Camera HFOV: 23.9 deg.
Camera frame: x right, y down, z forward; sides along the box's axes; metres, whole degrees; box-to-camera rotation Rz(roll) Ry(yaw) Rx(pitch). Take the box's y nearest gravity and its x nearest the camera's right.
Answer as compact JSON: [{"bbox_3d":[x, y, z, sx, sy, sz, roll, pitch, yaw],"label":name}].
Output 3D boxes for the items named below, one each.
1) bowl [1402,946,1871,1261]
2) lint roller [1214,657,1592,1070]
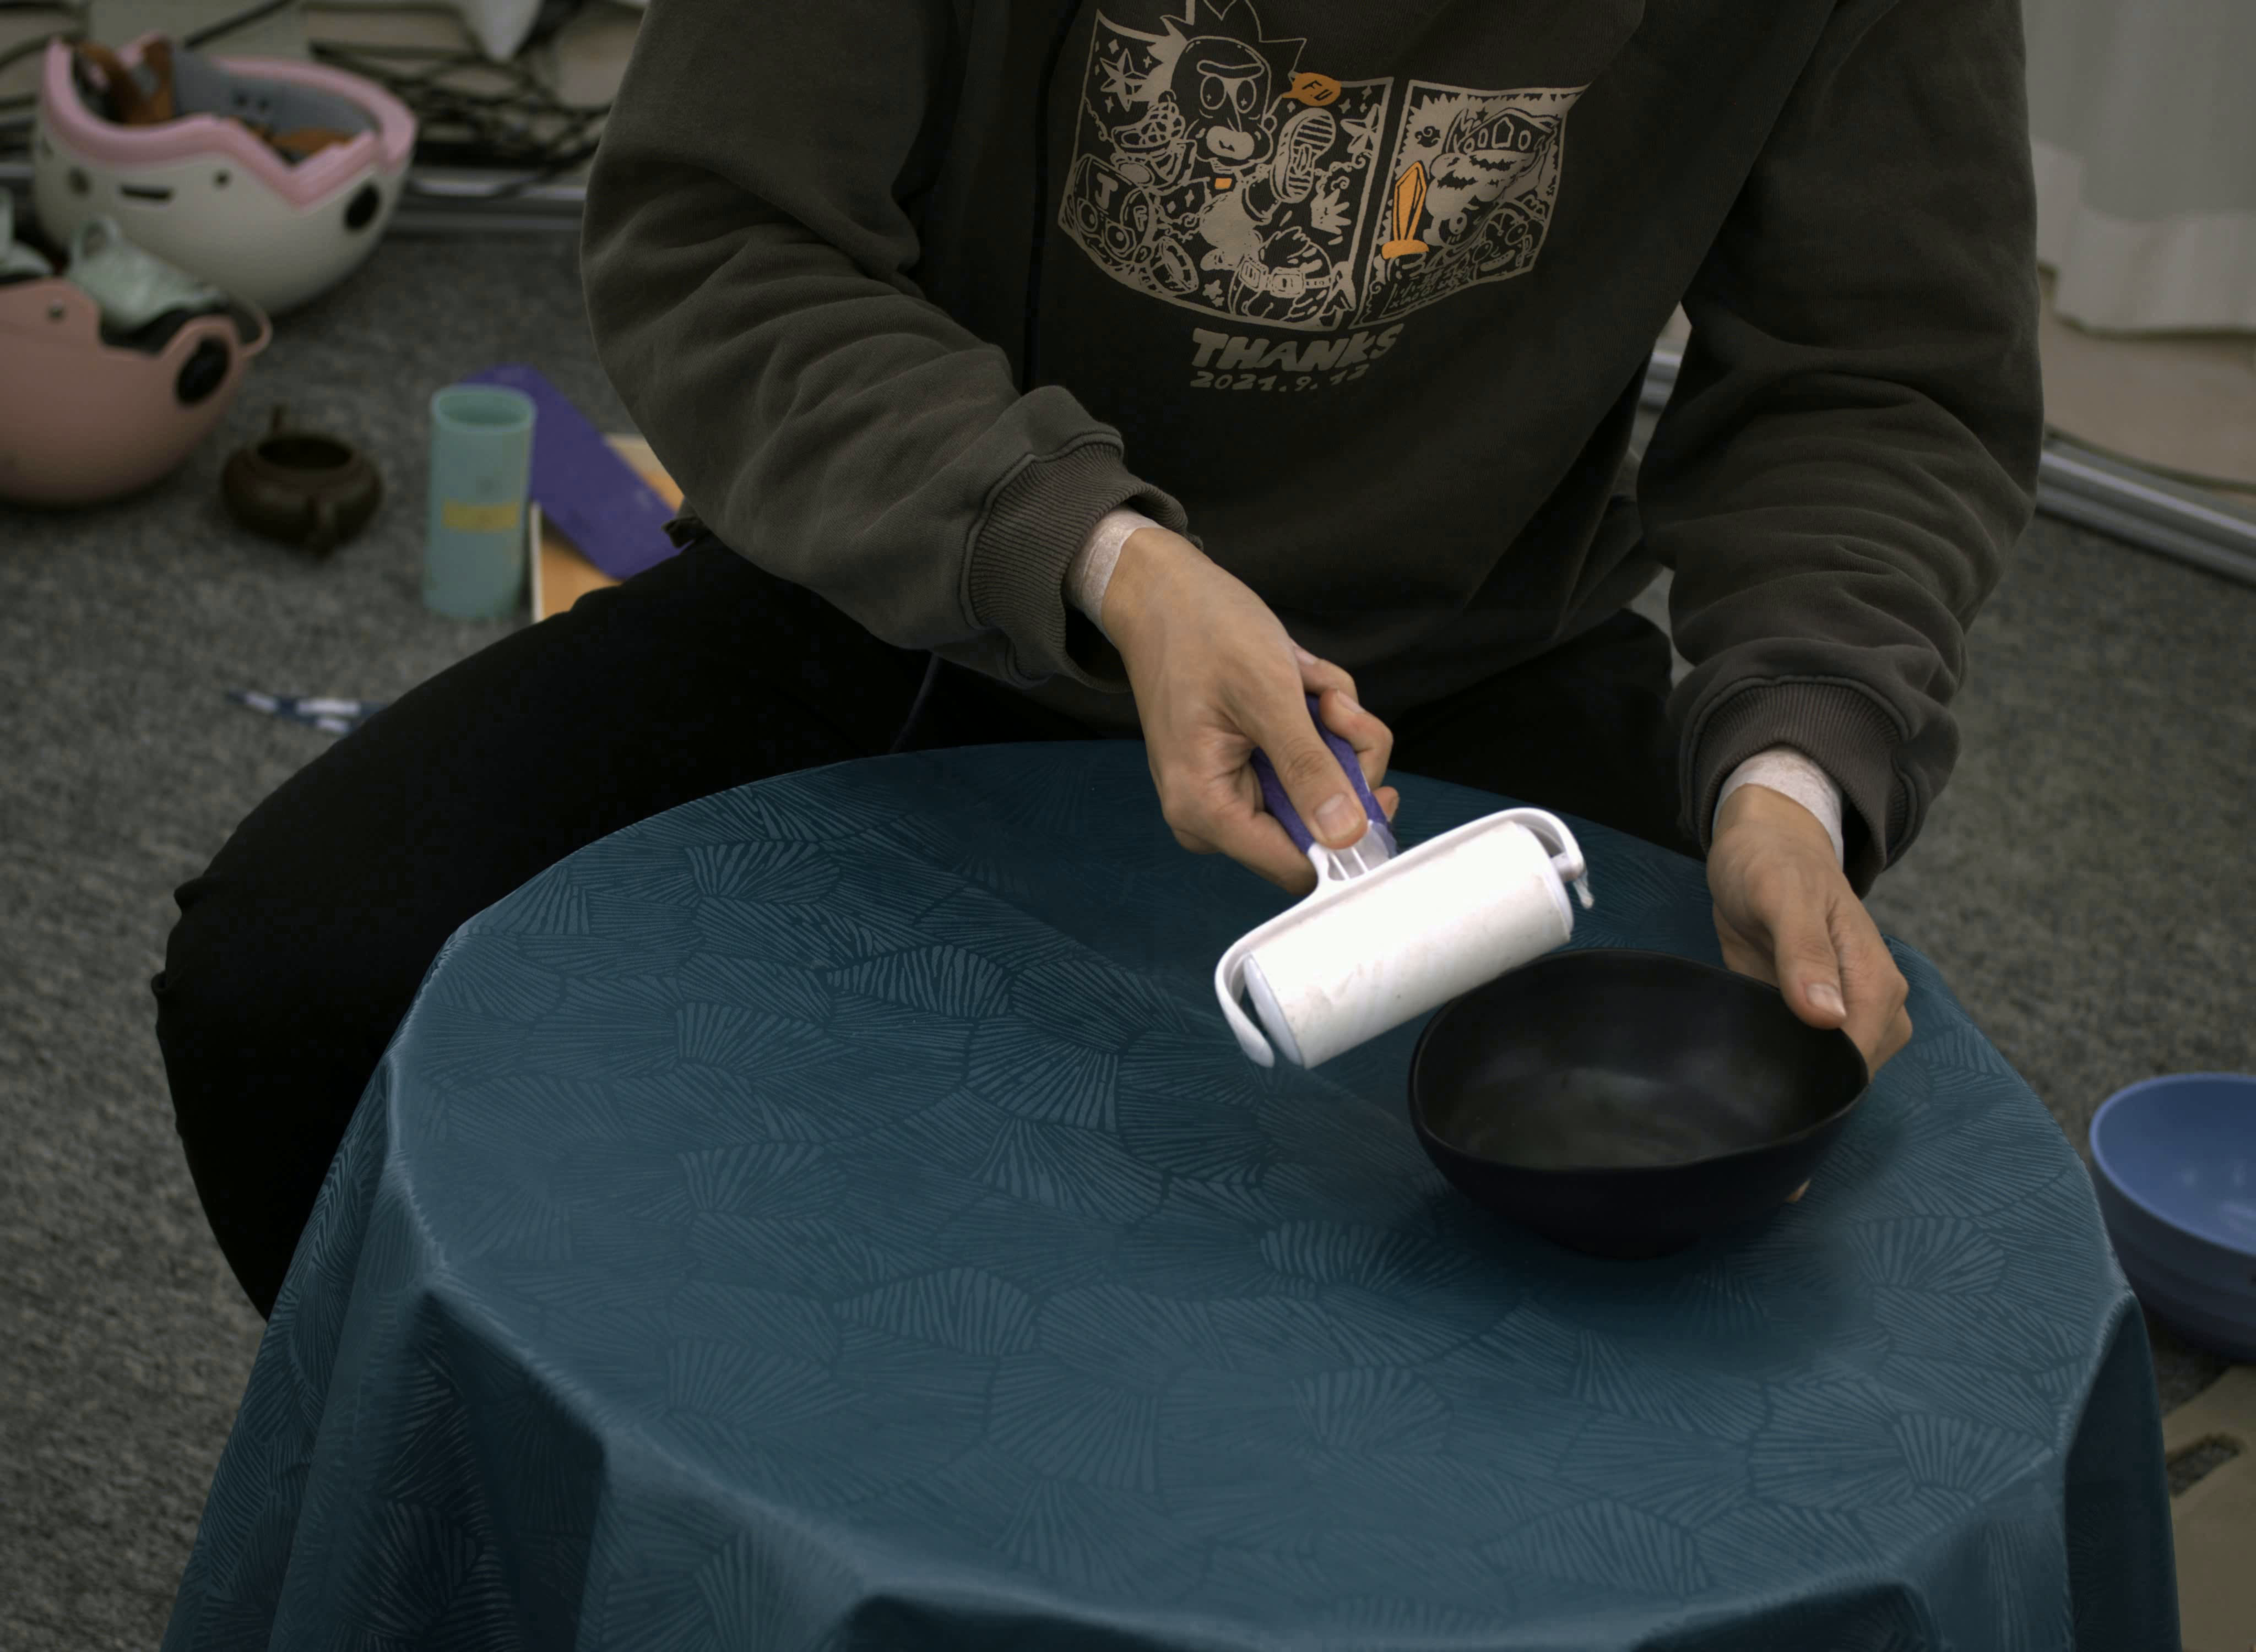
[{"bbox_3d":[0.171,0.104,1.811,0.169,0.066,0.138,-14,32,-33],"label":"bowl"},{"bbox_3d":[0.072,-0.006,1.829,0.132,0.050,0.182,-25,52,-1],"label":"lint roller"}]
